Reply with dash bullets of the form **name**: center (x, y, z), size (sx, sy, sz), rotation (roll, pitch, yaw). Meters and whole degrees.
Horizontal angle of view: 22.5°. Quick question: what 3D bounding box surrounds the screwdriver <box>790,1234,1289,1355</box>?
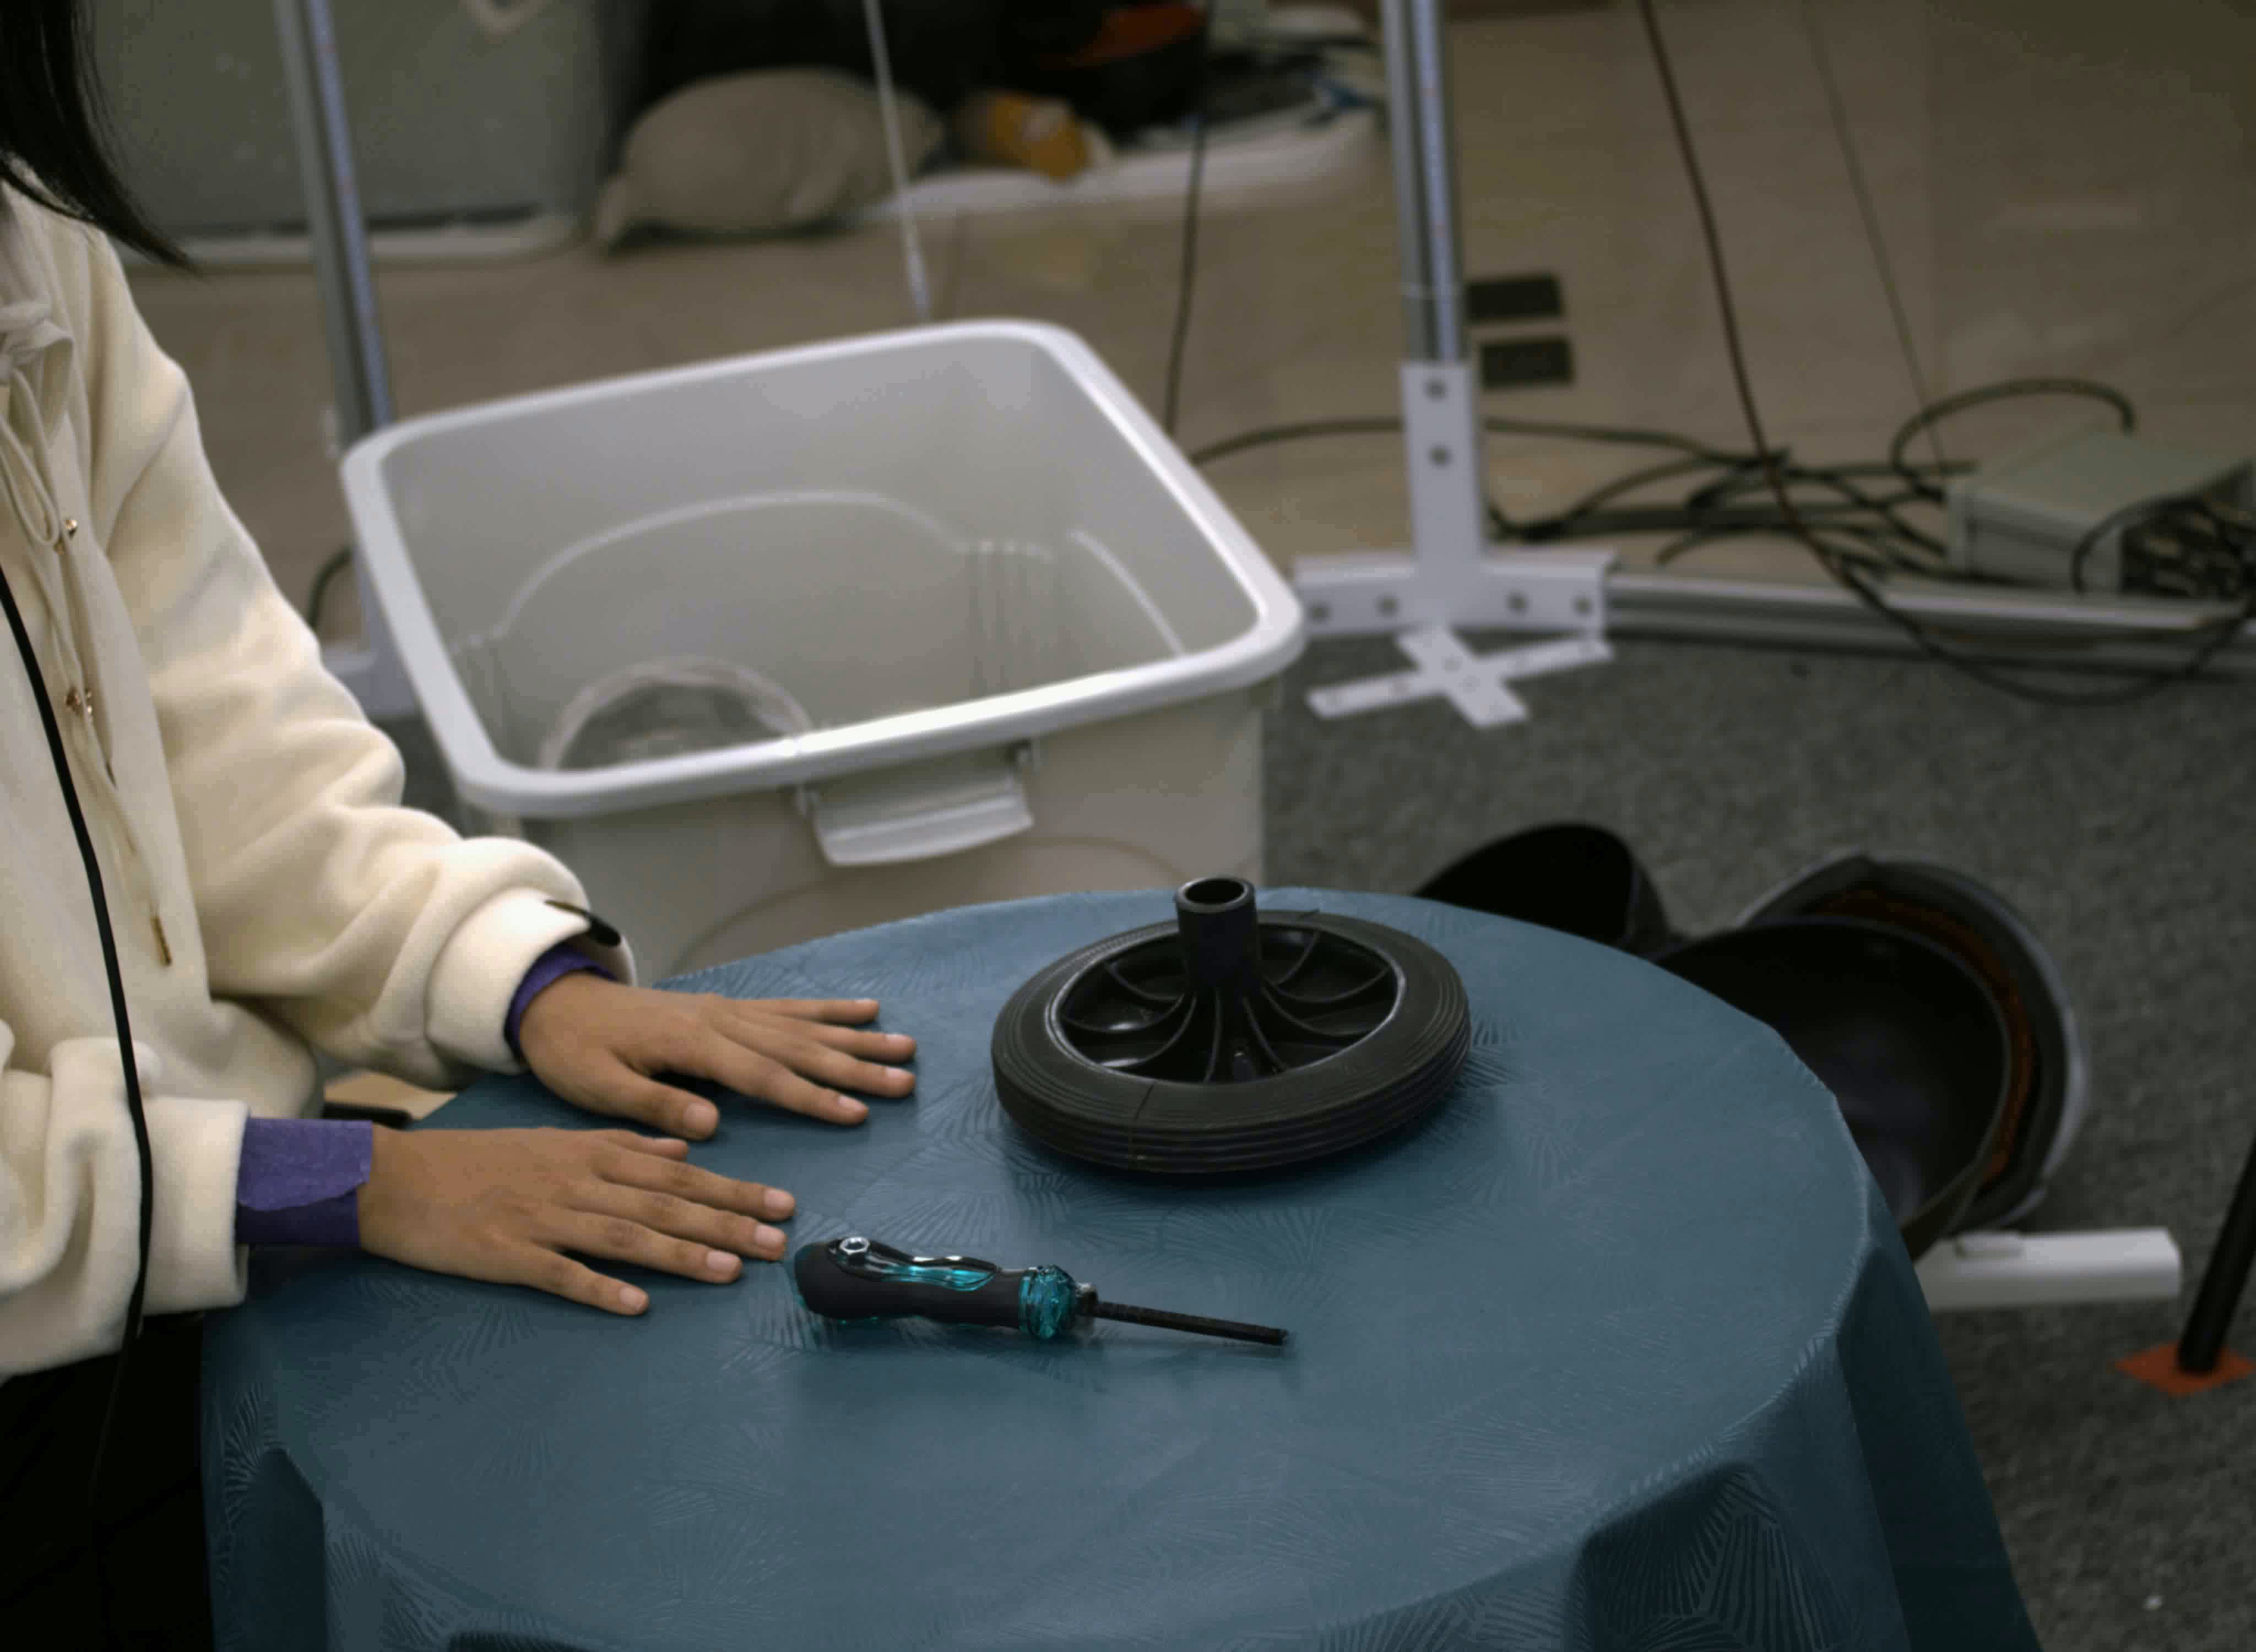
- **screwdriver**: center (-0.032, 0.175, 2.055), size (0.189, 0.034, 0.033), rotation (8, 28, 17)

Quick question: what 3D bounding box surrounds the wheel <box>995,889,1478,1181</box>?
- **wheel**: center (0.040, 0.067, 2.203), size (0.186, 0.080, 0.188), rotation (-19, 28, -24)
